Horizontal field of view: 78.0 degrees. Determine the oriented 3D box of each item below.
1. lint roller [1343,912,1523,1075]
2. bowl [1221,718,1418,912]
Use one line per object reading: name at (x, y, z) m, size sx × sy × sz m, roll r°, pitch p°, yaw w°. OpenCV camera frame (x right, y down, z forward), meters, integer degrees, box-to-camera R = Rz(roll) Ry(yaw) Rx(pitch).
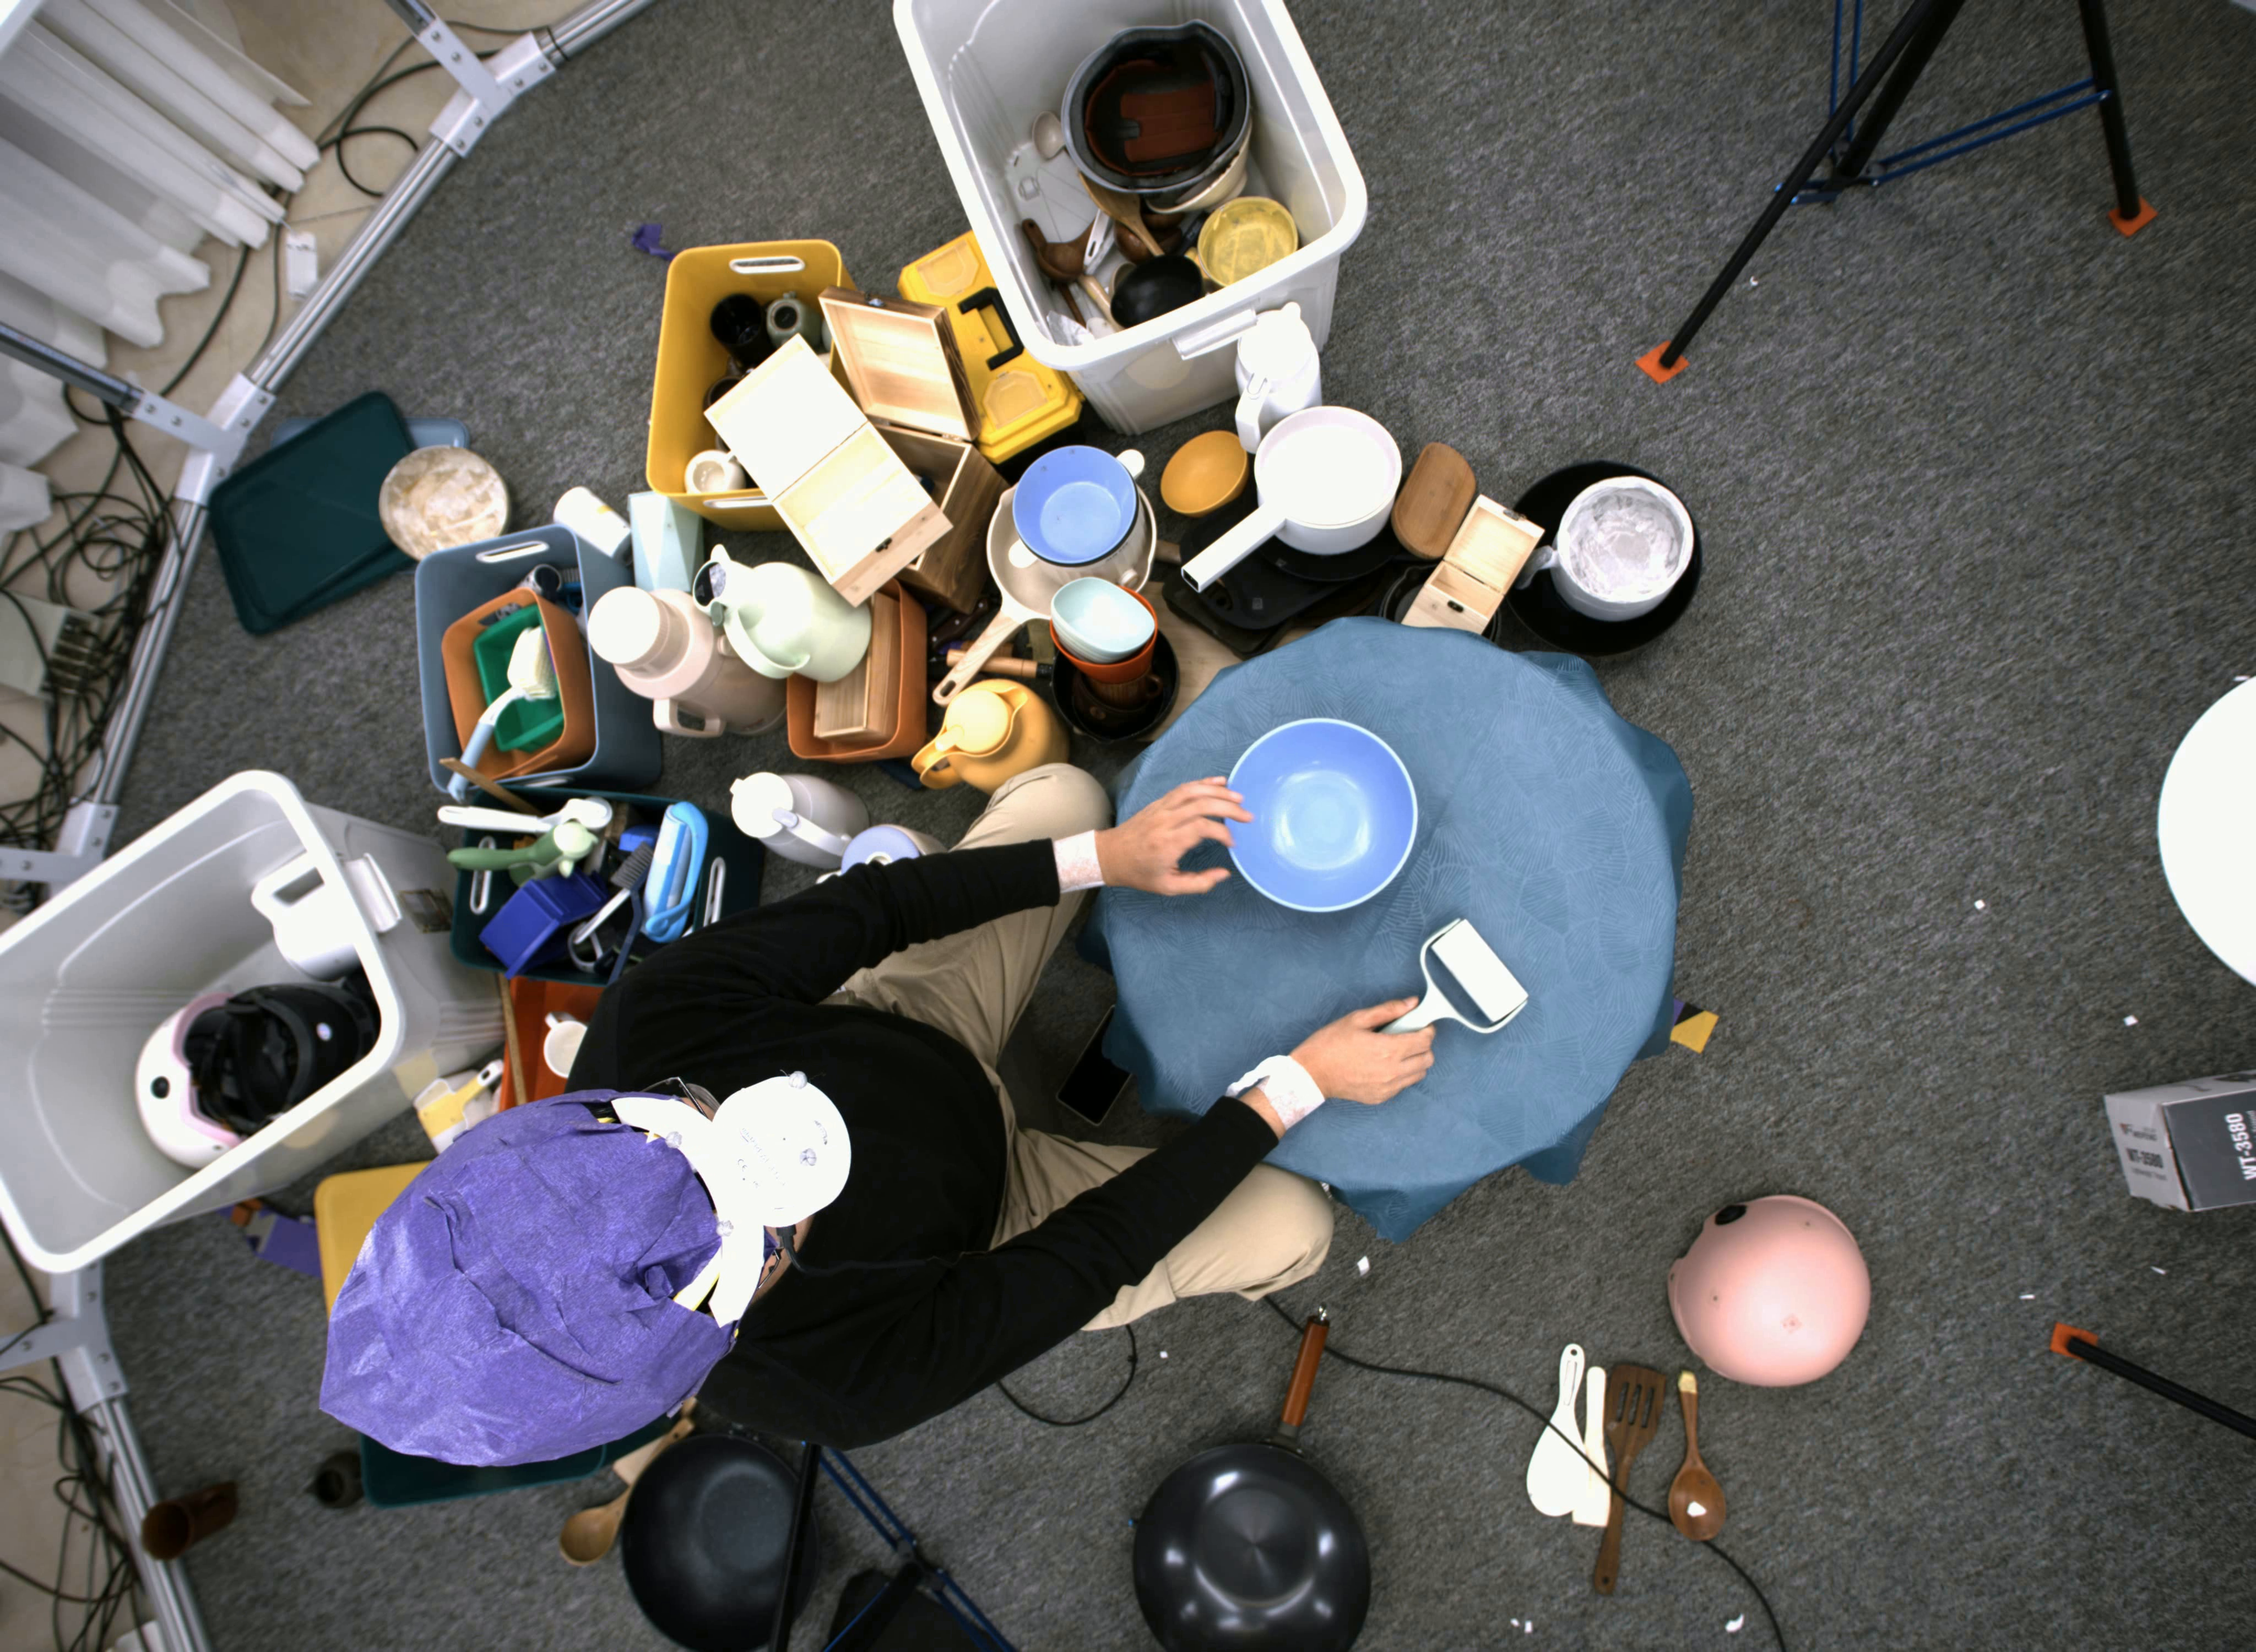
lint roller at (0.298, 0.186, 1.422) m, size 0.198 × 0.048 × 0.116 m, roll -39°, pitch 82°, yaw 4°
bowl at (0.198, -0.008, 1.429) m, size 0.197 × 0.095 × 0.196 m, roll -1°, pitch 87°, yaw 10°
